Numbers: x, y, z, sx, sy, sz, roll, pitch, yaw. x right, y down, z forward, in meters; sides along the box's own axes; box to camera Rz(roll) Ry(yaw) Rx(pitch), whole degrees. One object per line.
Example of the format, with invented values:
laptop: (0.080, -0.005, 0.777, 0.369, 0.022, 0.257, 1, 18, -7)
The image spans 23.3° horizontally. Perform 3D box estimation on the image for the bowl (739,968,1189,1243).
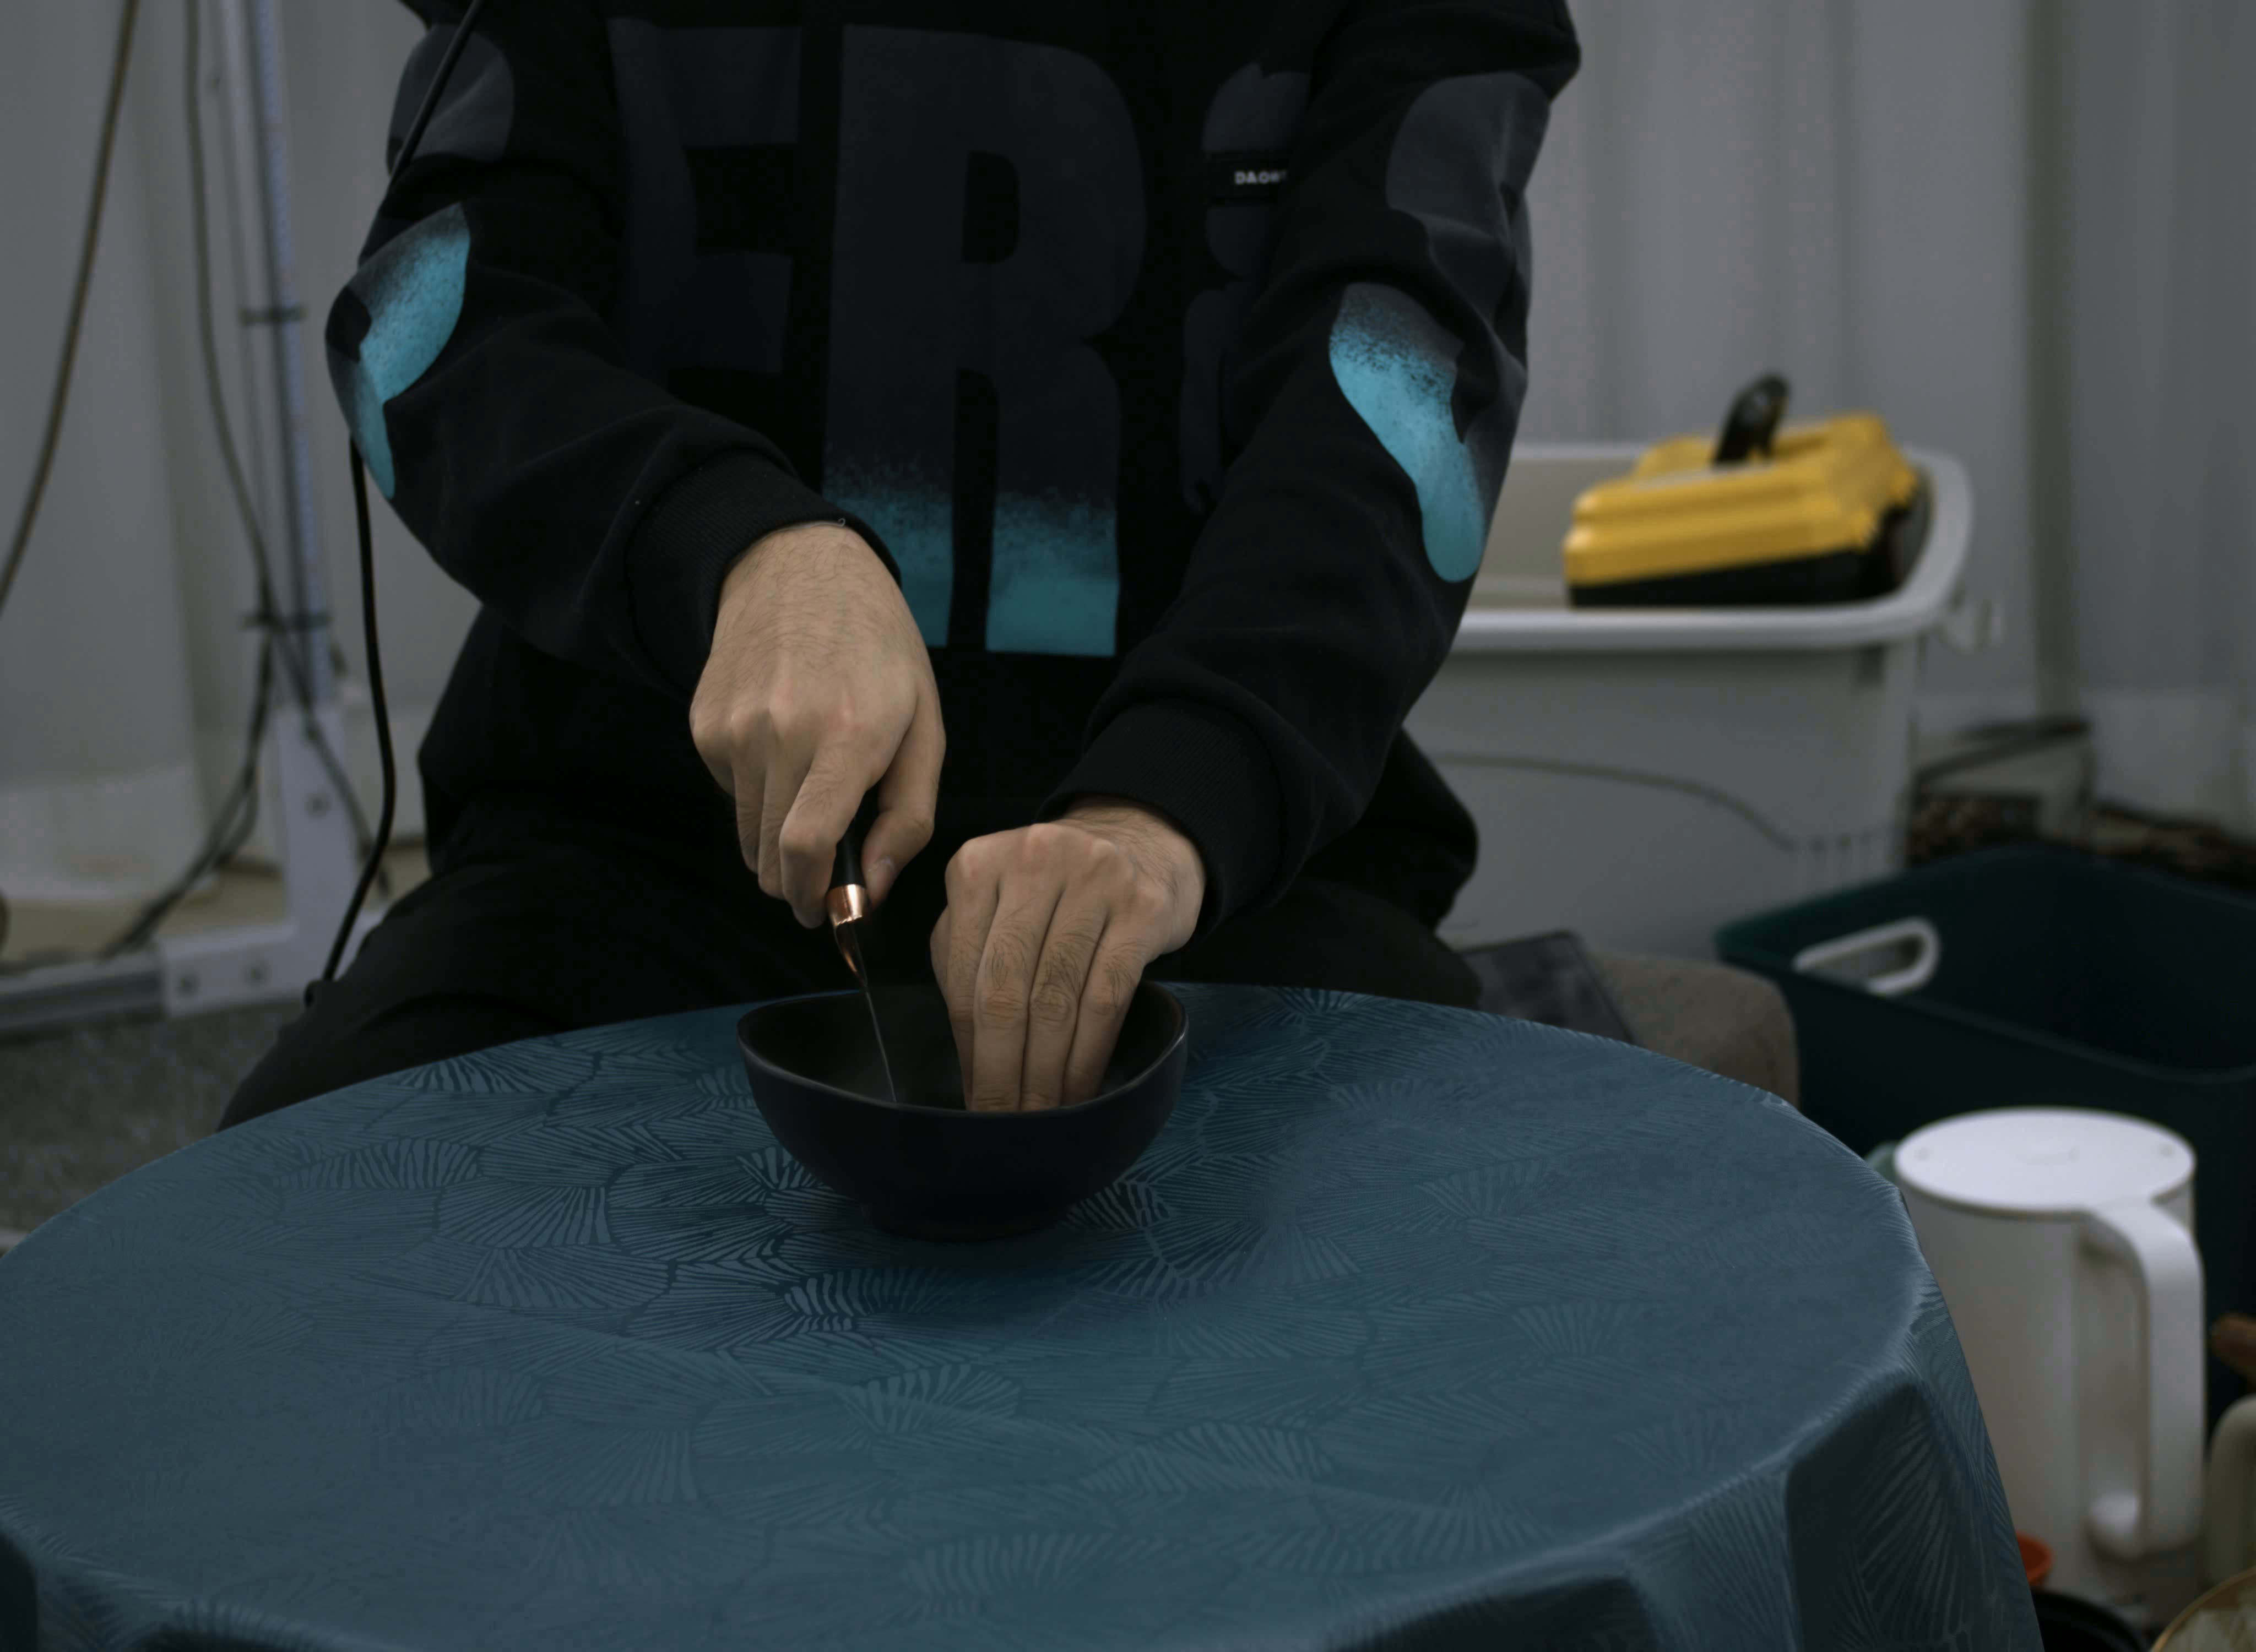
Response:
bowl: (-0.051, 0.089, 1.695, 0.137, 0.066, 0.171, -8, 14, -20)

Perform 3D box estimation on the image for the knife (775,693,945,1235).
knife: (-0.085, 0.041, 1.740, 0.017, 0.026, 0.229, -17, 47, -1)
